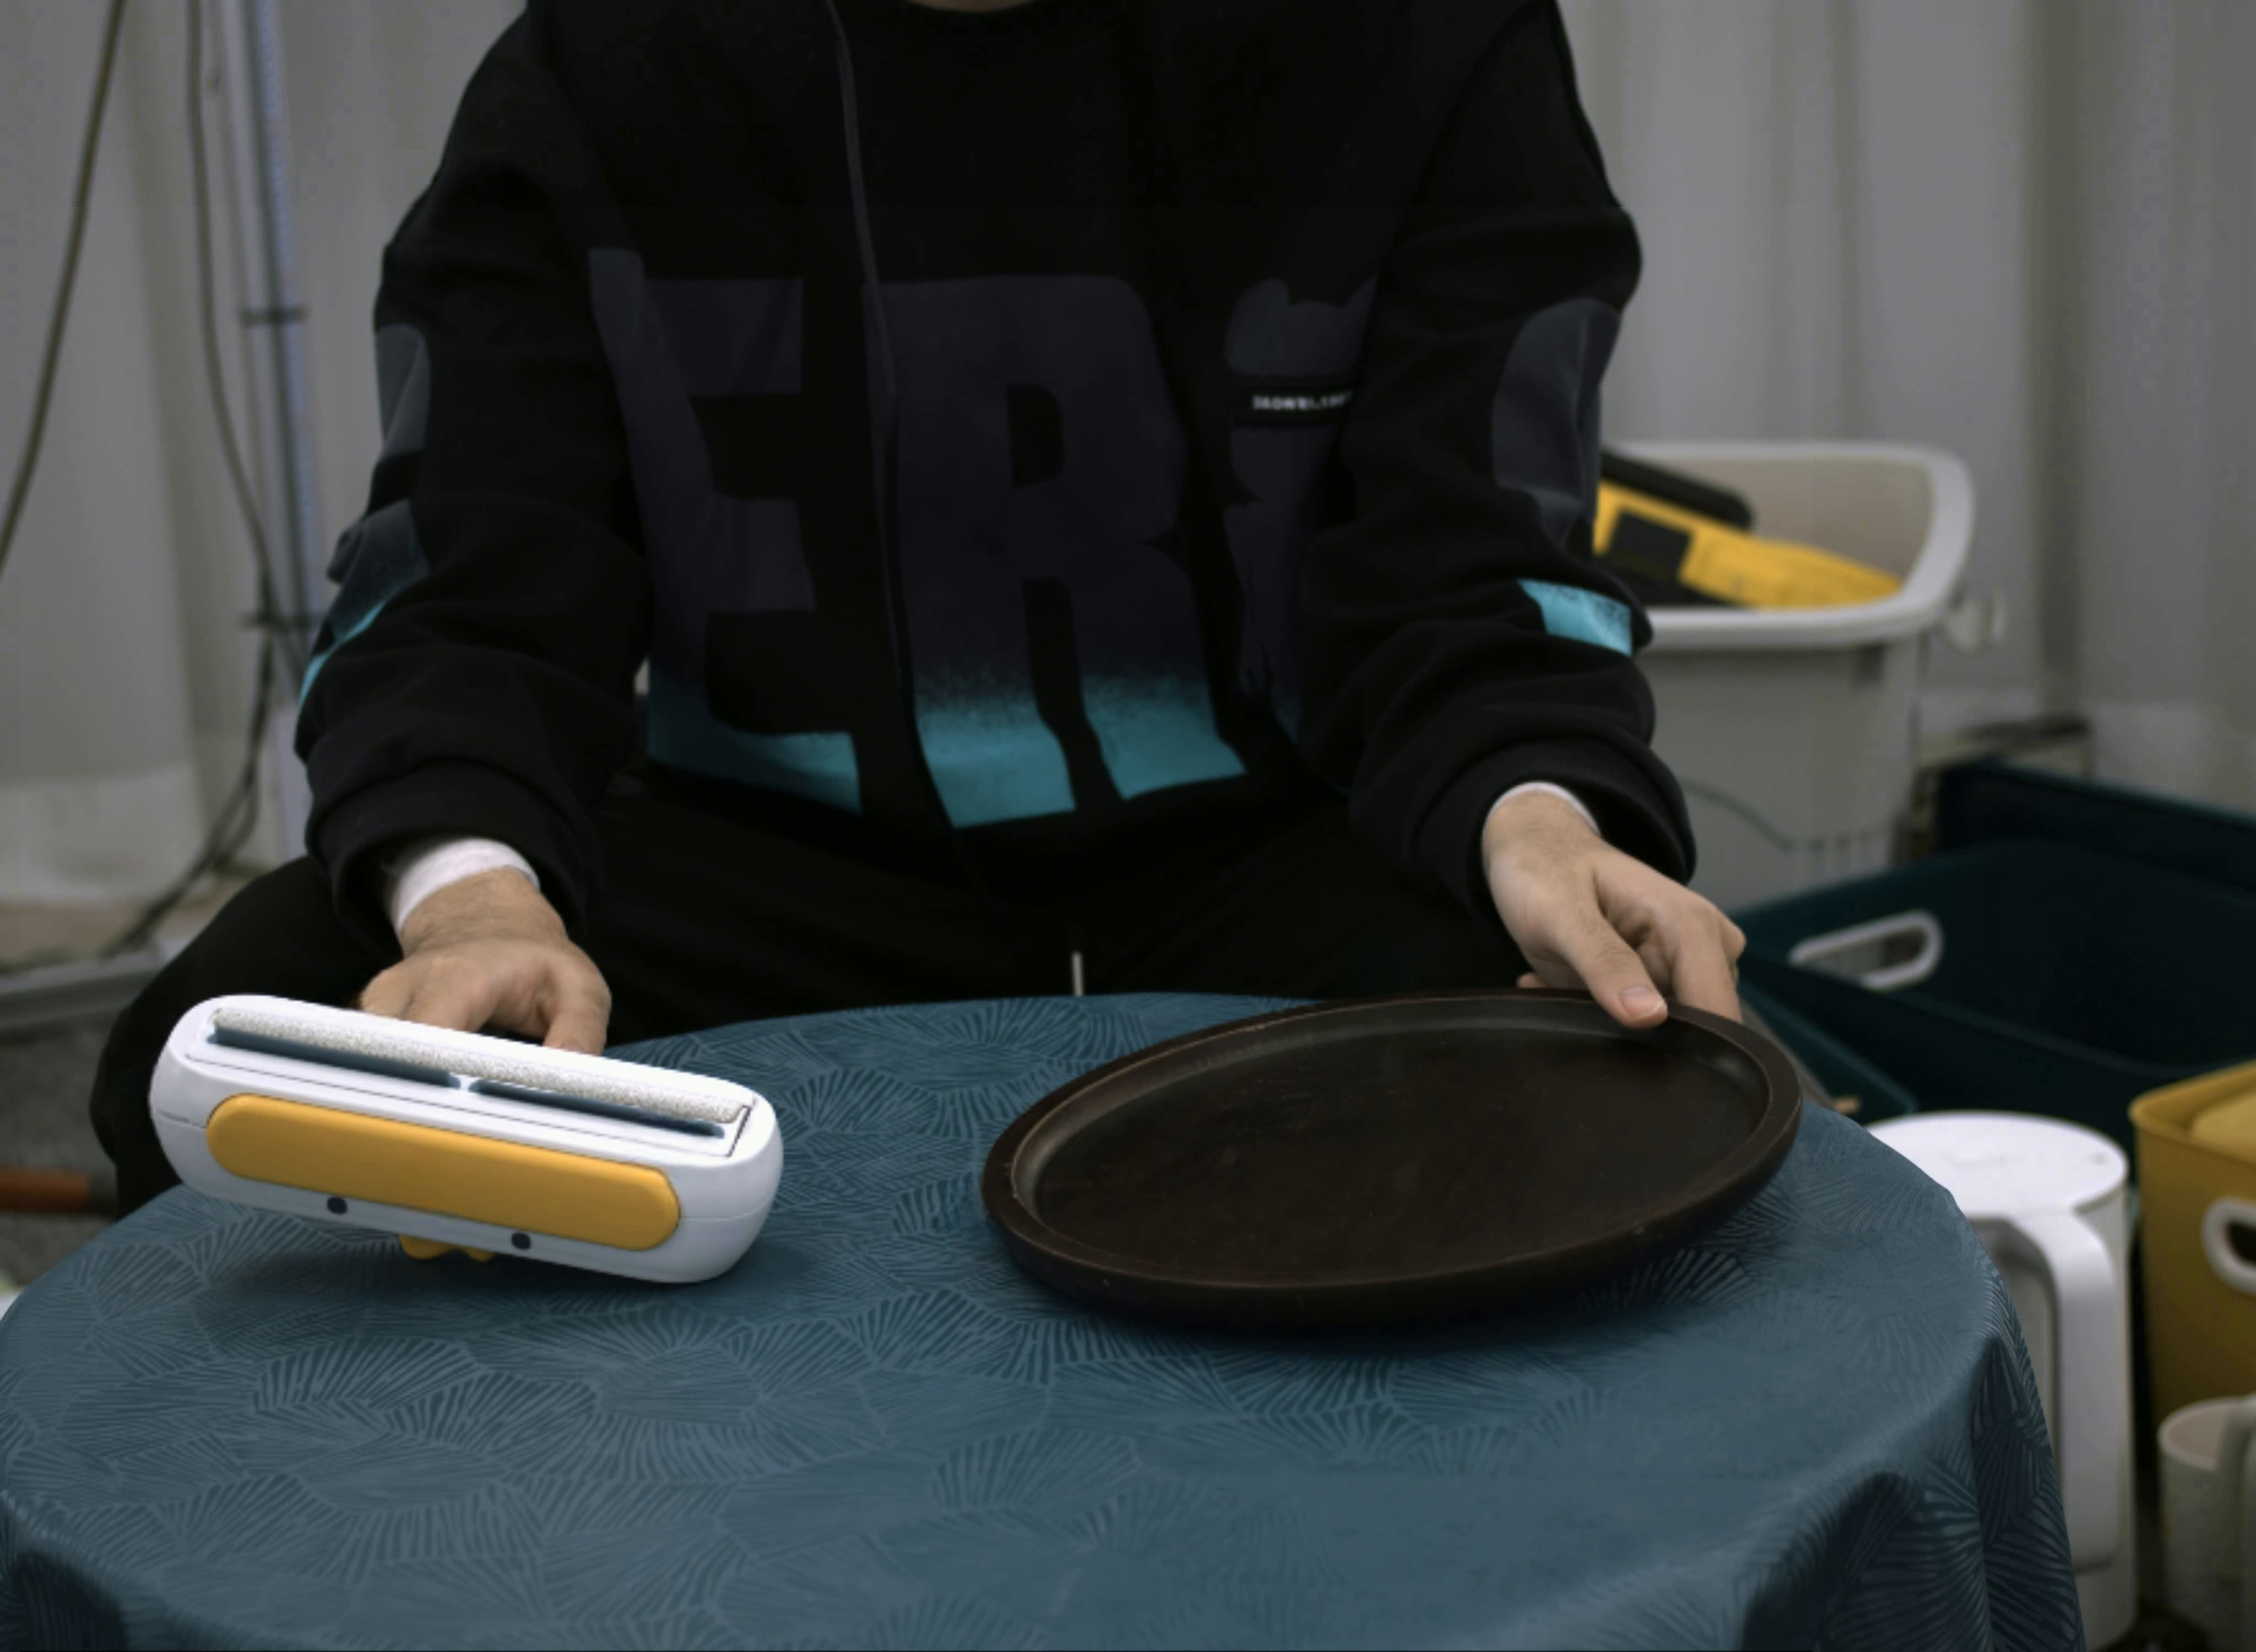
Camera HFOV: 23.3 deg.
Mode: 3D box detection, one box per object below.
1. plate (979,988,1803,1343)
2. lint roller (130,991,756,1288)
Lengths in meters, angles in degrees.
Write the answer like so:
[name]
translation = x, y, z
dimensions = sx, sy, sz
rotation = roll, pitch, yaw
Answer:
[plate]
translation = 0.080, 0.102, 1.670
dimensions = 0.254, 0.029, 0.256
rotation = -8, 15, 2
[lint roller]
translation = -0.199, 0.088, 1.725
dimensions = 0.192, 0.074, 0.193
rotation = 7, 14, 9
